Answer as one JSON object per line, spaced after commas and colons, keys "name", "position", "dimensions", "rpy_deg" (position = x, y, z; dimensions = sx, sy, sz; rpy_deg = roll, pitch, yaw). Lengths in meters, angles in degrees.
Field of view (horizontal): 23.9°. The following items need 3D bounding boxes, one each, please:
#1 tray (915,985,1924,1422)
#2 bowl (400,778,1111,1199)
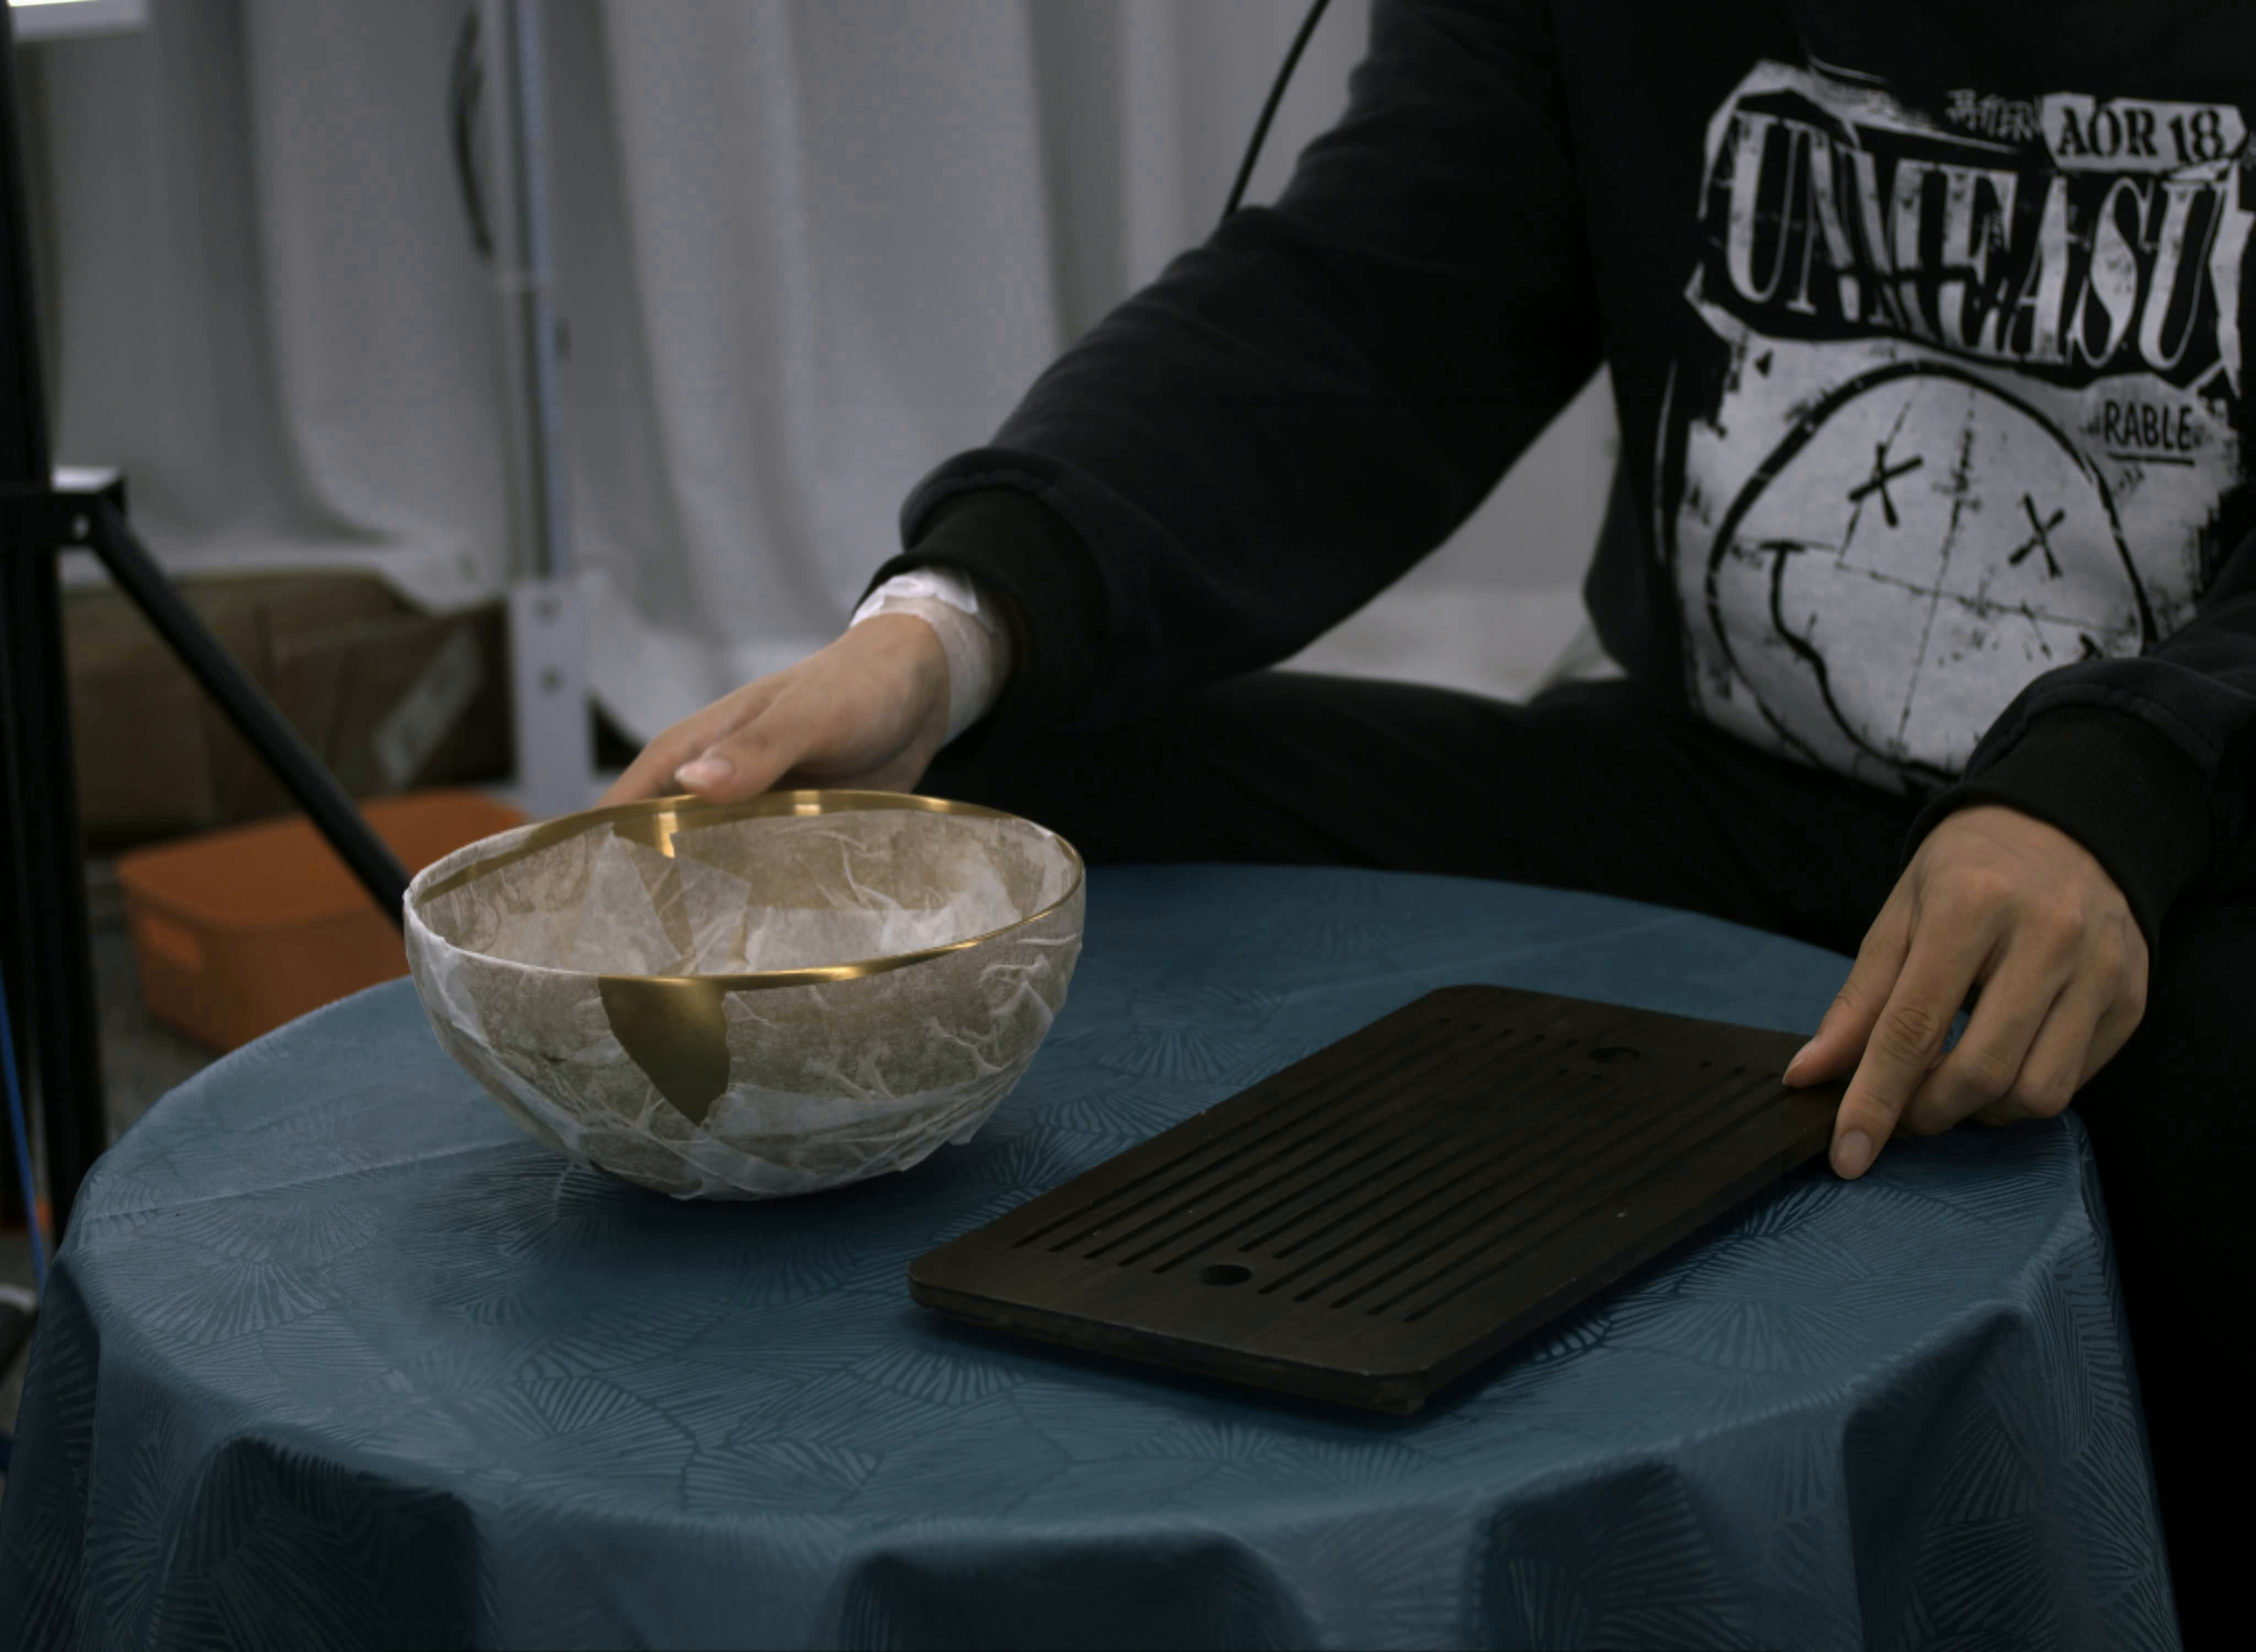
{"name": "tray", "position": [0.090, 0.105, 1.522], "dimensions": [0.173, 0.018, 0.300], "rpy_deg": [8, 19, 34]}
{"name": "bowl", "position": [-0.107, 0.057, 1.585], "dimensions": [0.213, 0.094, 0.216], "rpy_deg": [-3, 15, 0]}
